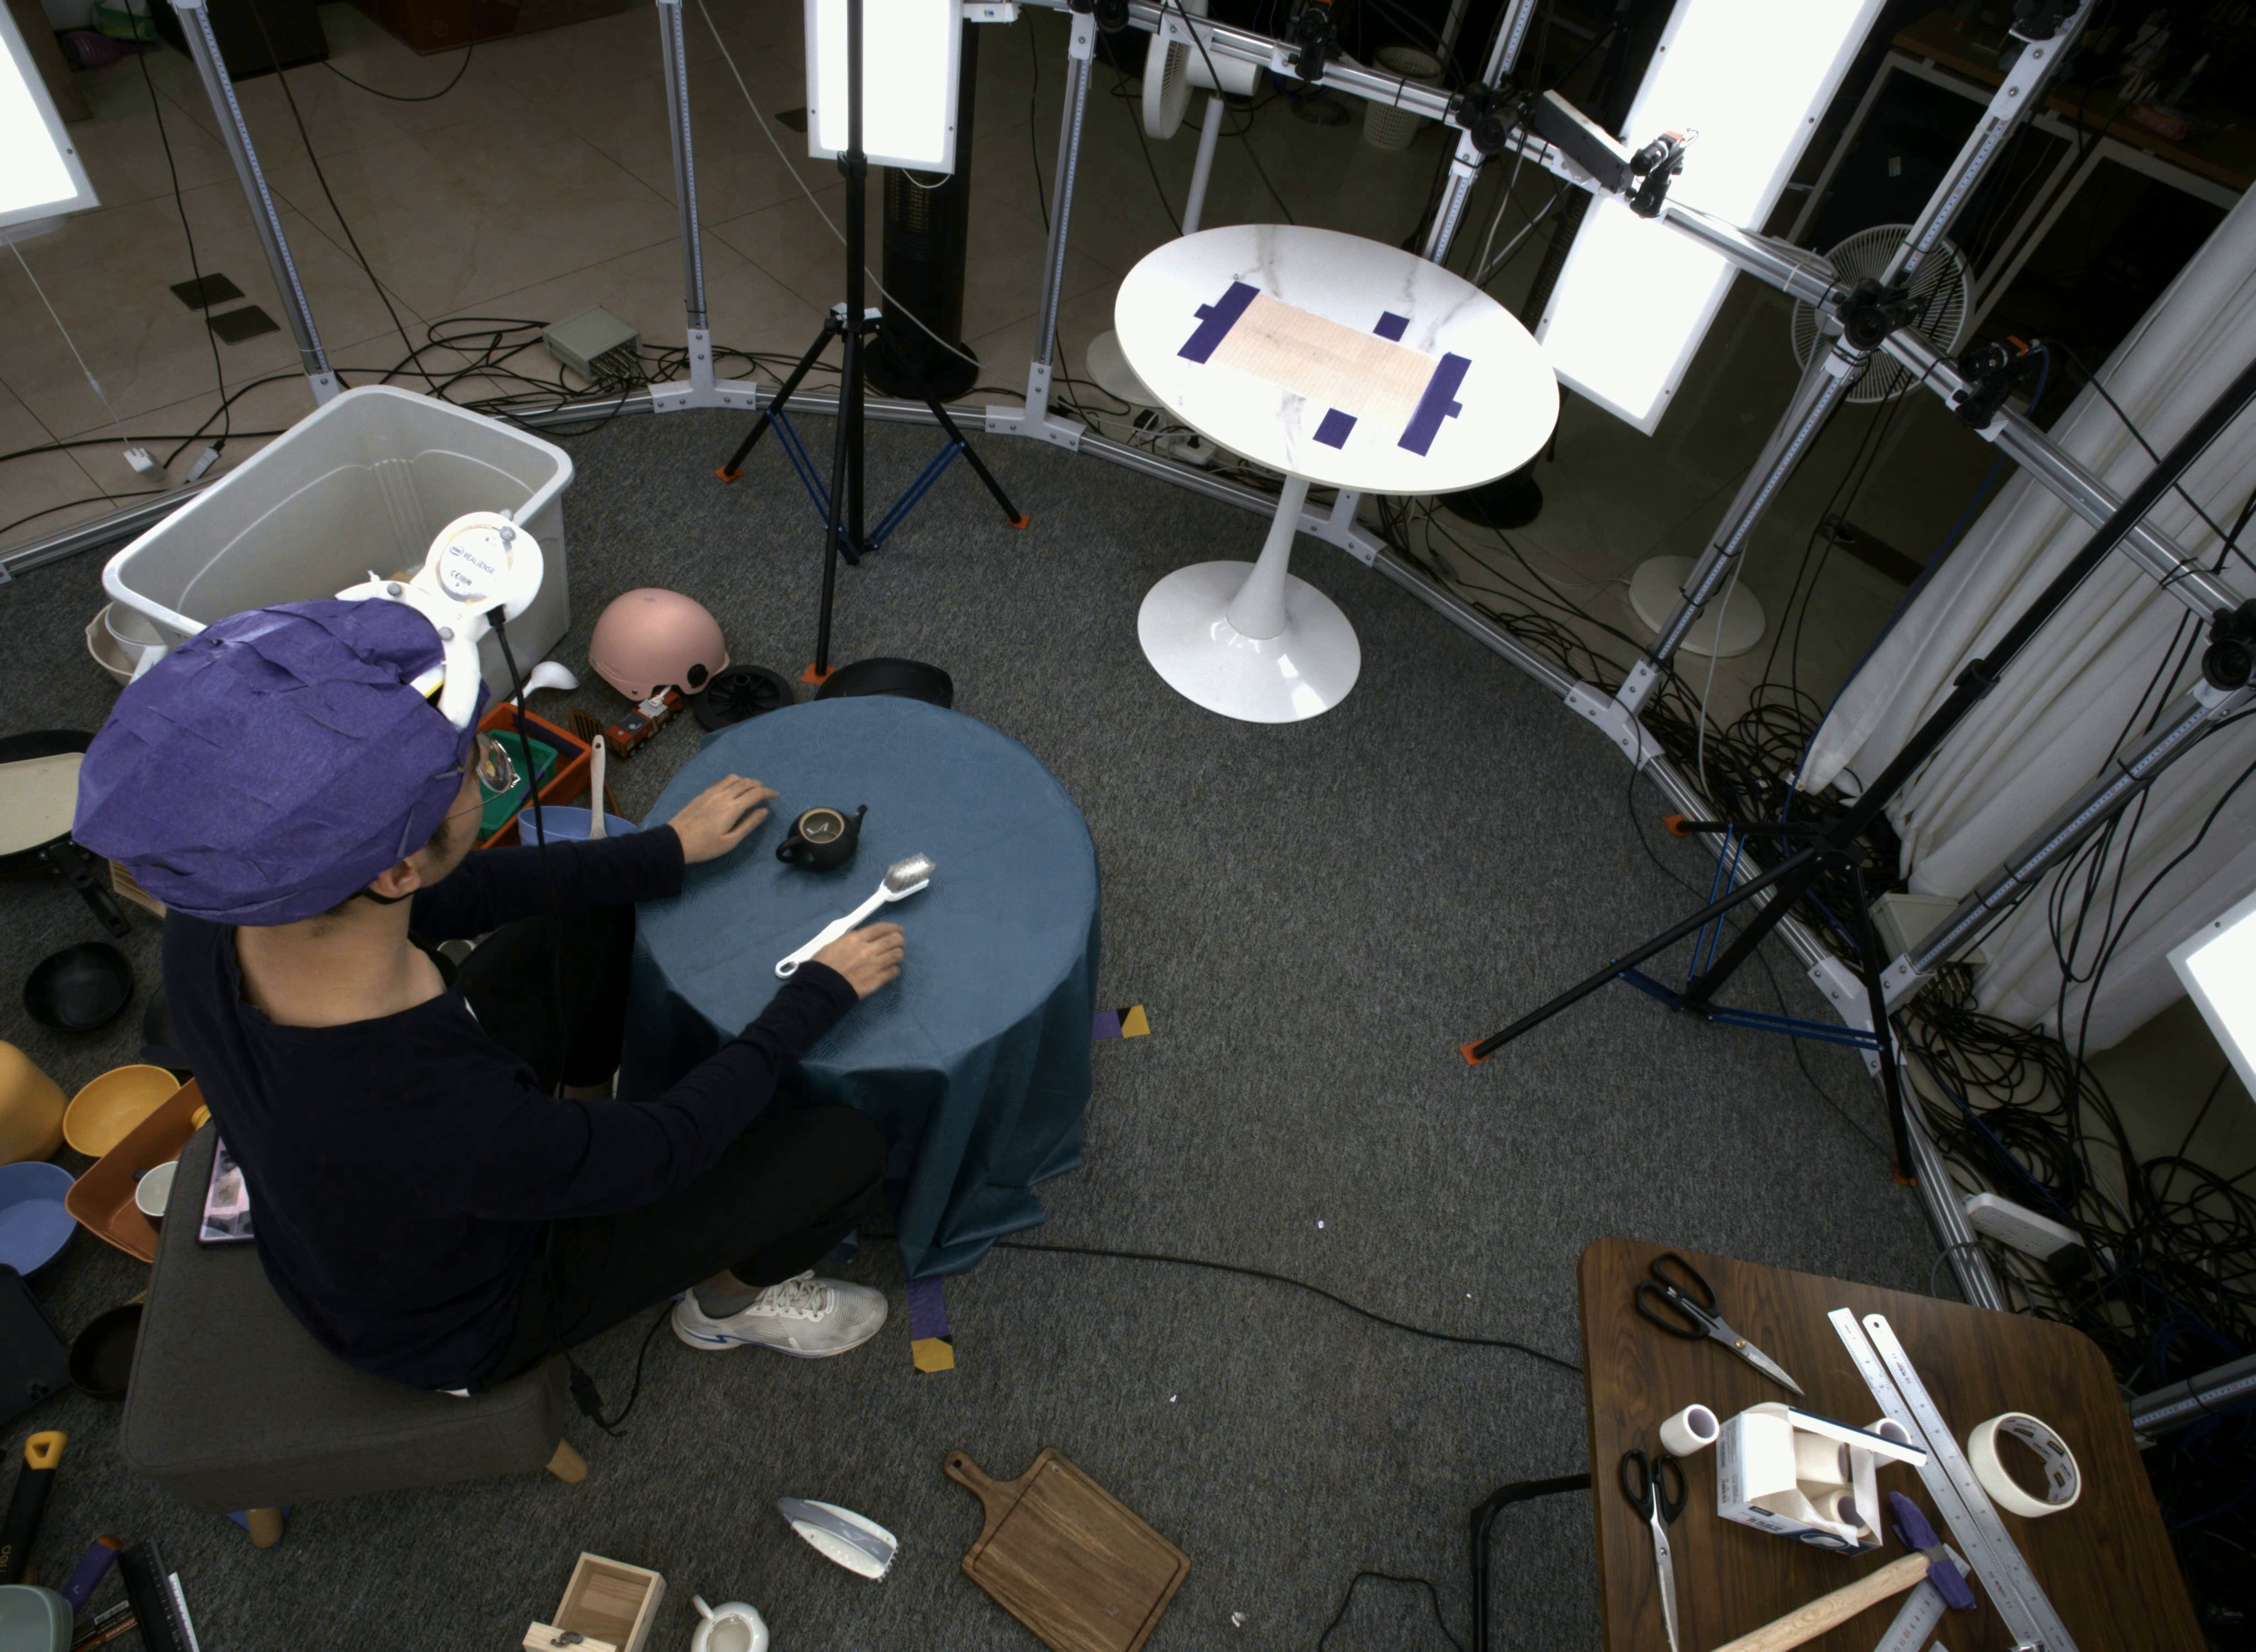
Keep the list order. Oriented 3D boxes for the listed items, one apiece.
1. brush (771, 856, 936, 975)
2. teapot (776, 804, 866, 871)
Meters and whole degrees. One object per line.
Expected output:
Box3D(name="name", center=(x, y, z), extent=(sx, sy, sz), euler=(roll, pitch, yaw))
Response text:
Box3D(name="brush", center=(-0.344, 0.108, 1.634), extent=(0.244, 0.051, 0.034), euler=(-33, 70, -32))
Box3D(name="teapot", center=(-0.398, 0.015, 1.687), extent=(0.133, 0.054, 0.088), euler=(-29, 61, -29))
